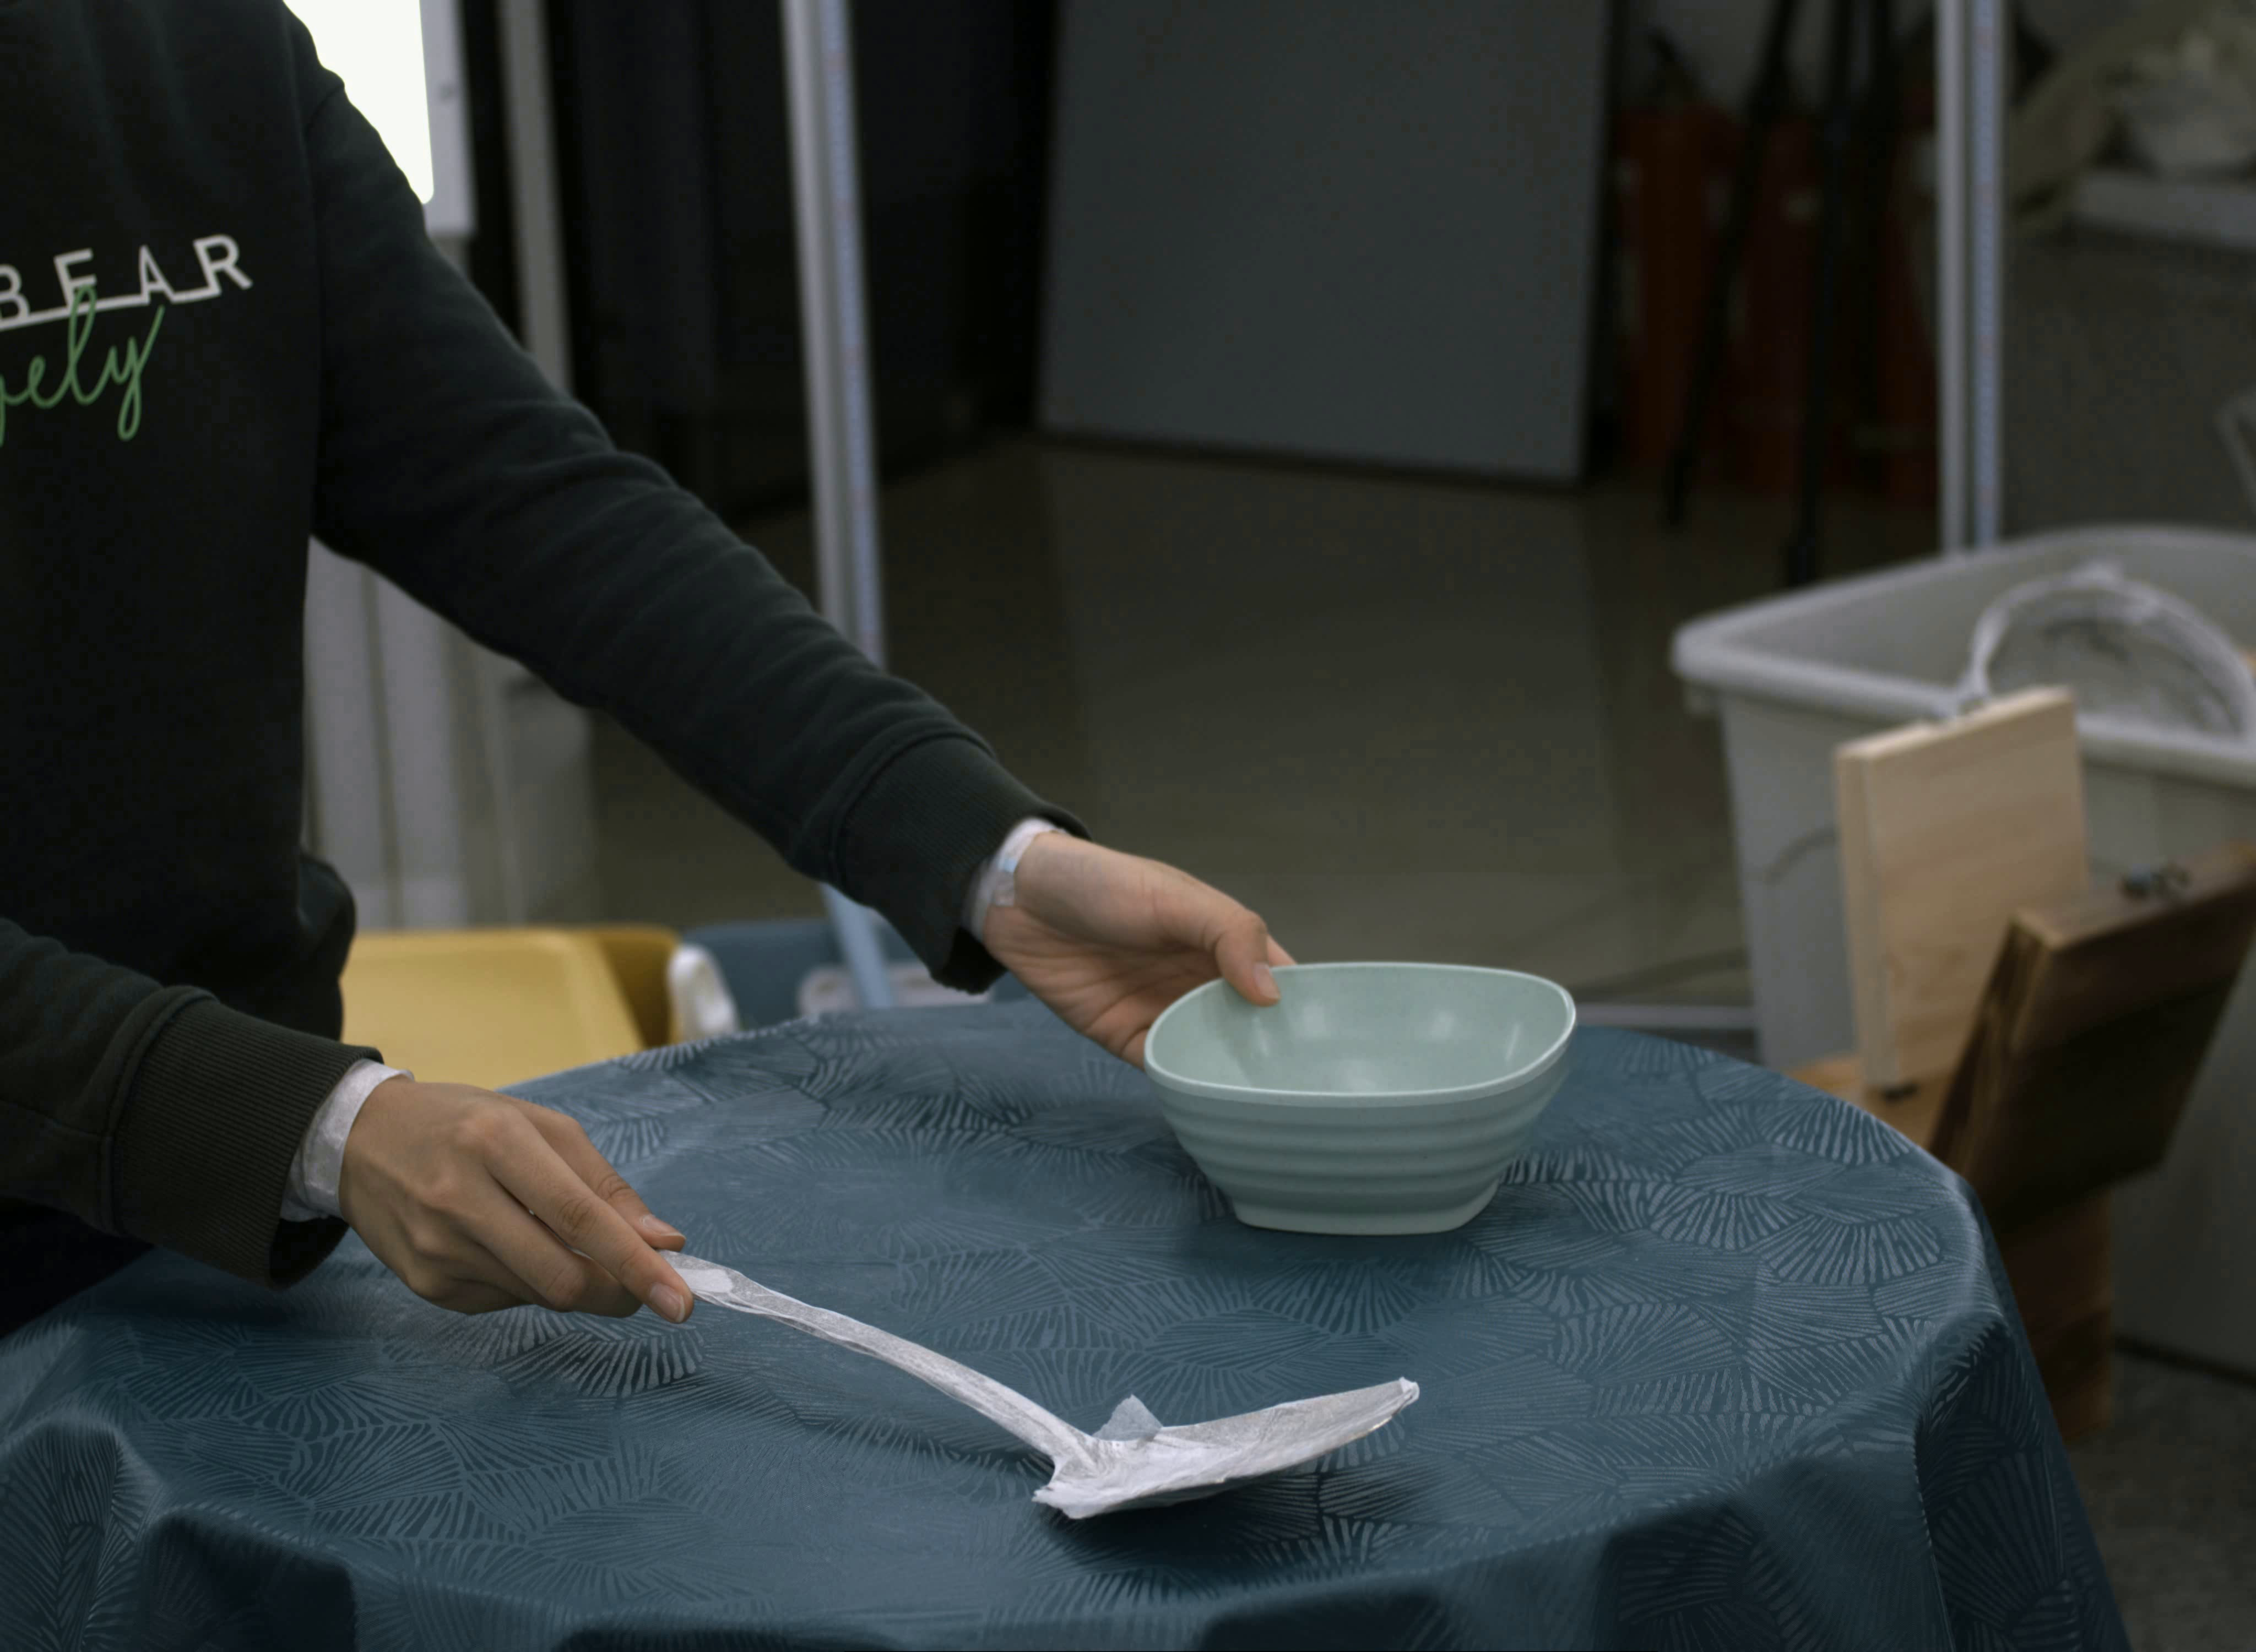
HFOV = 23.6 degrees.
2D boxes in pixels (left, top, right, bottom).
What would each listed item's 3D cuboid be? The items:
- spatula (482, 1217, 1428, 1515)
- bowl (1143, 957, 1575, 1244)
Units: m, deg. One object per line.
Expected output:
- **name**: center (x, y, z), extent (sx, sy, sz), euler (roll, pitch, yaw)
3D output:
- **spatula**: center (-0.072, 0.146, 1.573), extent (0.368, 0.045, 0.097), euler (15, 25, 40)
- **bowl**: center (0.075, 0.092, 1.745), extent (0.149, 0.059, 0.152), euler (-2, 17, 0)
